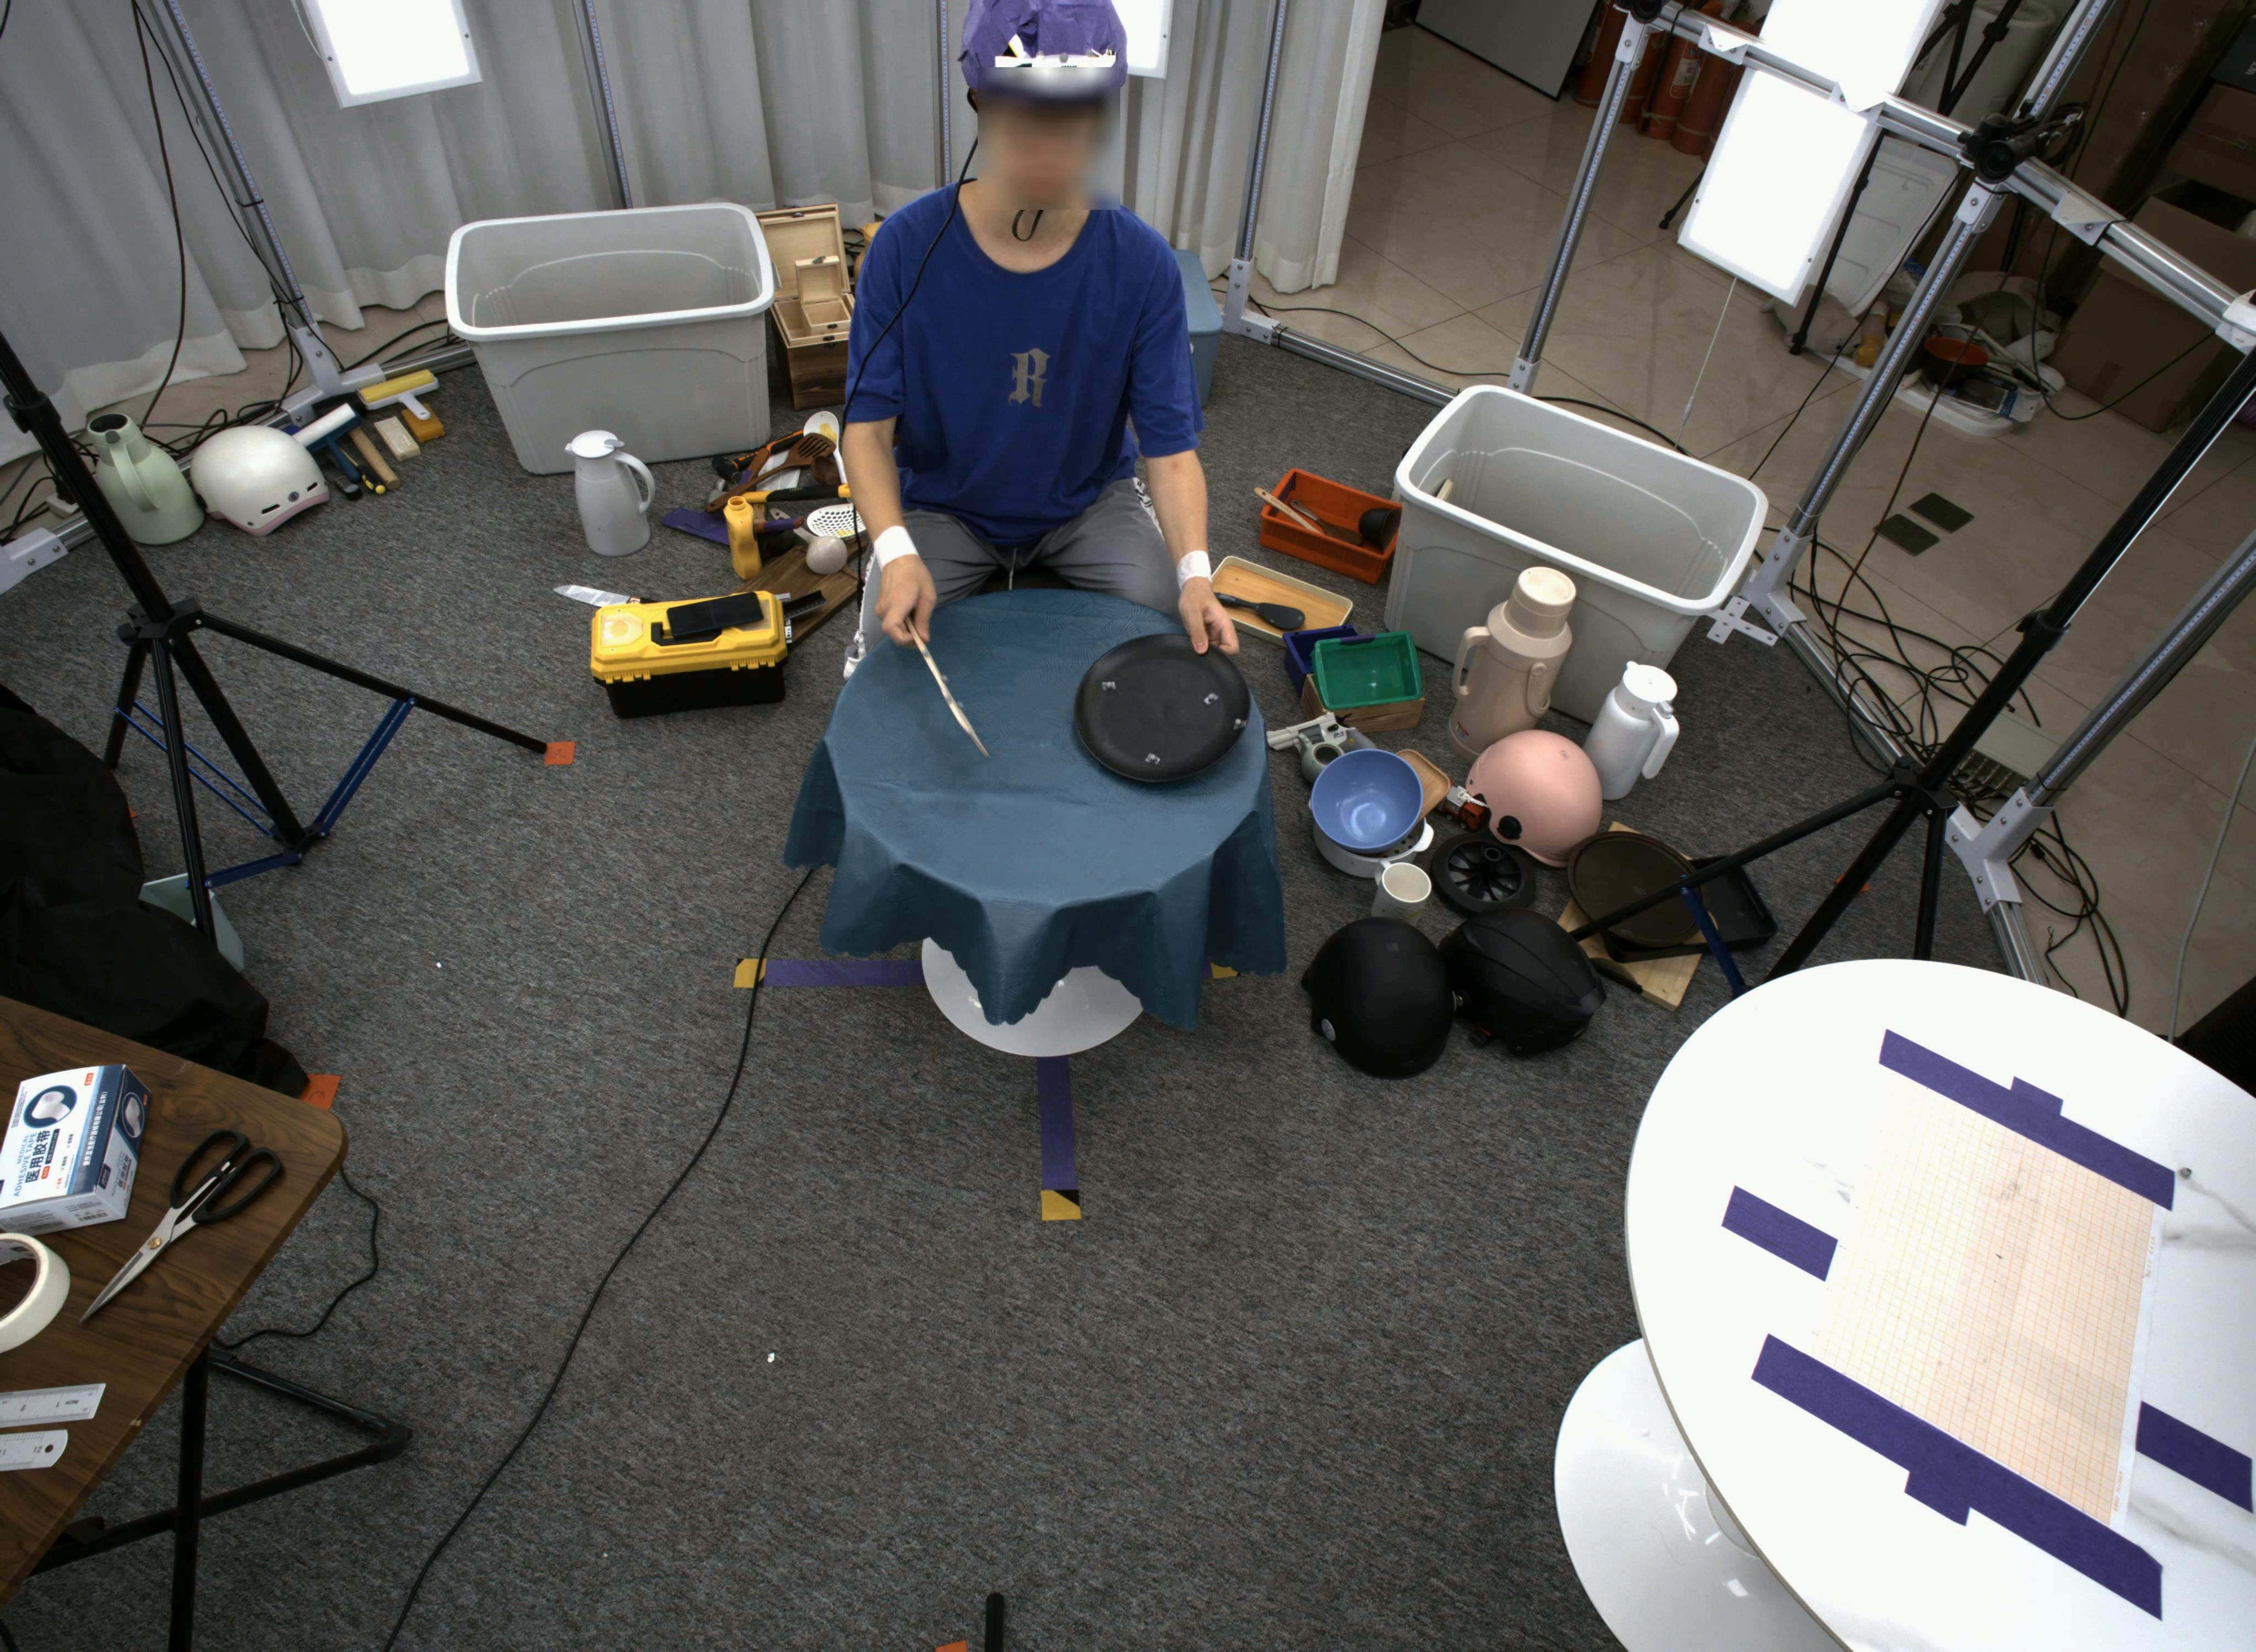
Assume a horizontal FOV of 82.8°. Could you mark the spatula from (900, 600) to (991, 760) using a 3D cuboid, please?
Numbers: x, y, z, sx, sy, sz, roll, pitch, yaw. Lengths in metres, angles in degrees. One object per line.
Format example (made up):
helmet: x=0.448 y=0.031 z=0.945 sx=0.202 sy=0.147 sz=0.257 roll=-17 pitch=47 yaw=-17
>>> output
spatula: x=-0.257 y=-0.208 z=1.757 sx=0.010 sy=0.071 sz=0.299 roll=-33 pitch=57 yaw=5

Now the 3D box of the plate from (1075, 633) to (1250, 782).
plate: x=0.047 y=-0.163 z=1.774 sx=0.244 sy=0.023 sz=0.250 roll=-3 pitch=60 yaw=5
